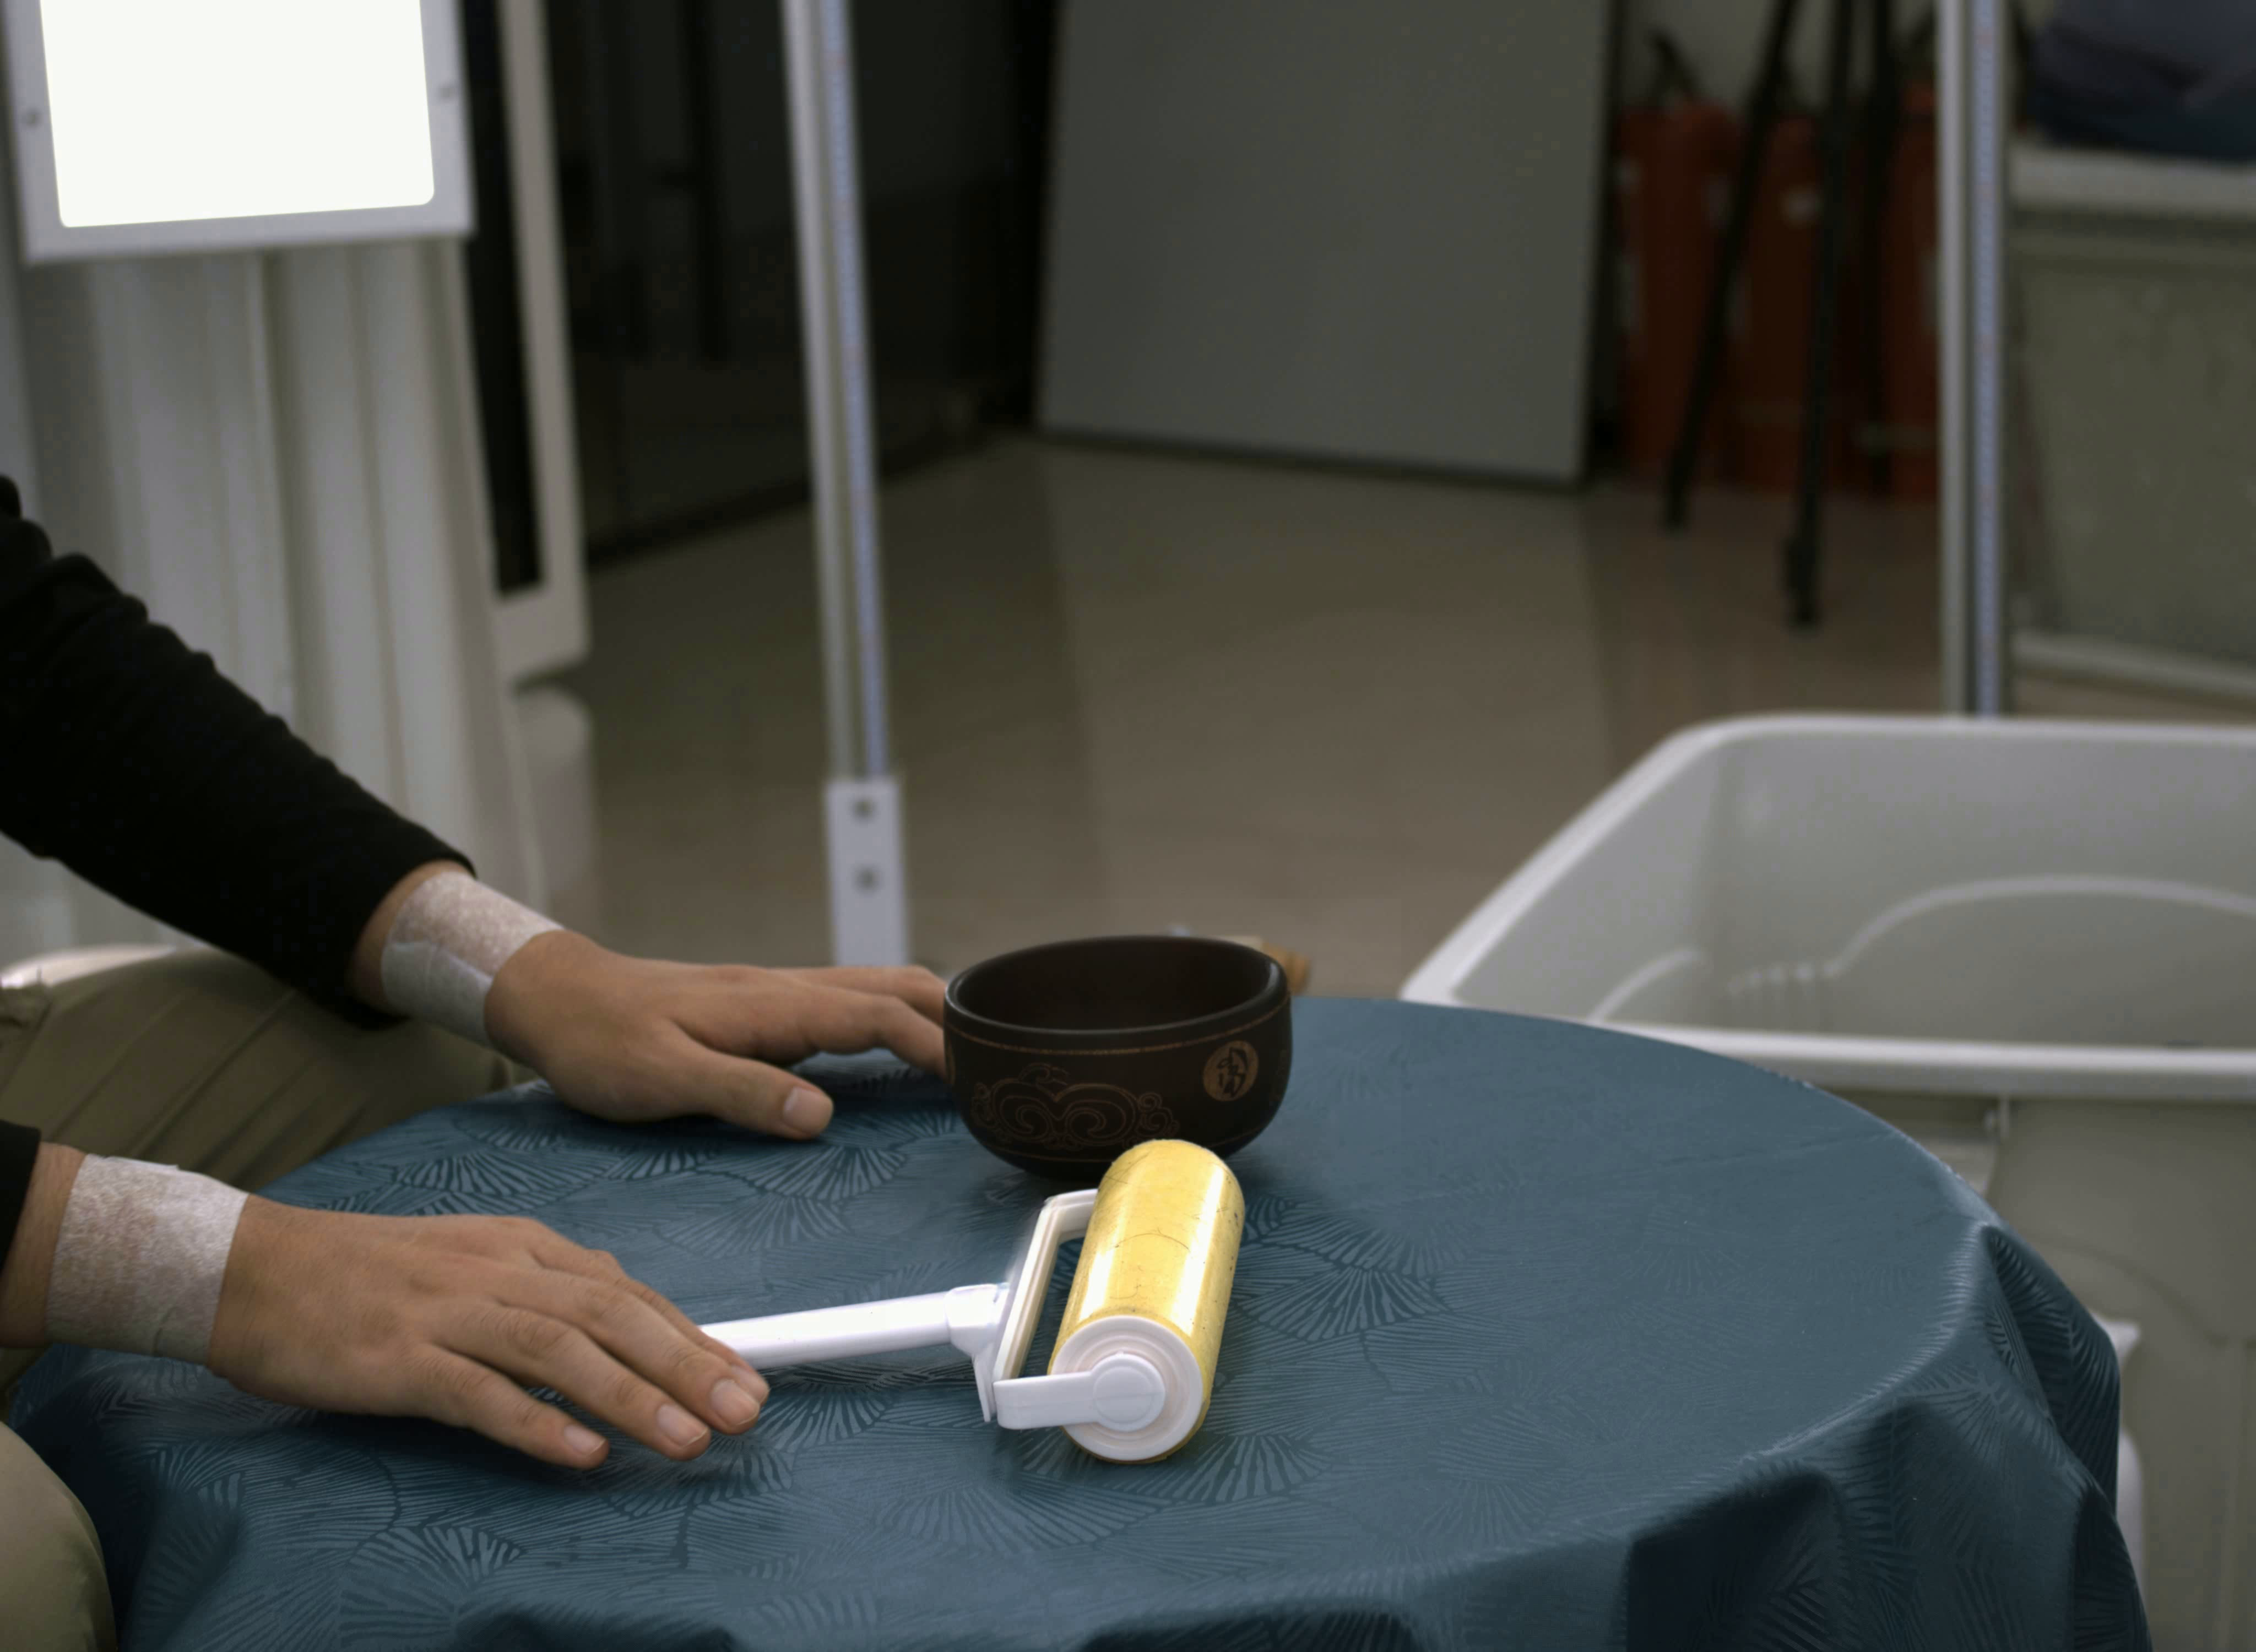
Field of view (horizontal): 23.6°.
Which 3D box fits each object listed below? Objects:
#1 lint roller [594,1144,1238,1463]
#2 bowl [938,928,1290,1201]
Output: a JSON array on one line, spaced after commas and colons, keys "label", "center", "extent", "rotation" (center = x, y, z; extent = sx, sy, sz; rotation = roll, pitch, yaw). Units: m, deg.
[{"label": "lint roller", "center": [-0.064, 0.140, 1.602], "extent": [0.190, 0.052, 0.174], "rotation": [2, 14, 4]}, {"label": "bowl", "center": [-0.004, 0.082, 1.774], "extent": [0.116, 0.070, 0.118], "rotation": [-3, 13, 0]}]
